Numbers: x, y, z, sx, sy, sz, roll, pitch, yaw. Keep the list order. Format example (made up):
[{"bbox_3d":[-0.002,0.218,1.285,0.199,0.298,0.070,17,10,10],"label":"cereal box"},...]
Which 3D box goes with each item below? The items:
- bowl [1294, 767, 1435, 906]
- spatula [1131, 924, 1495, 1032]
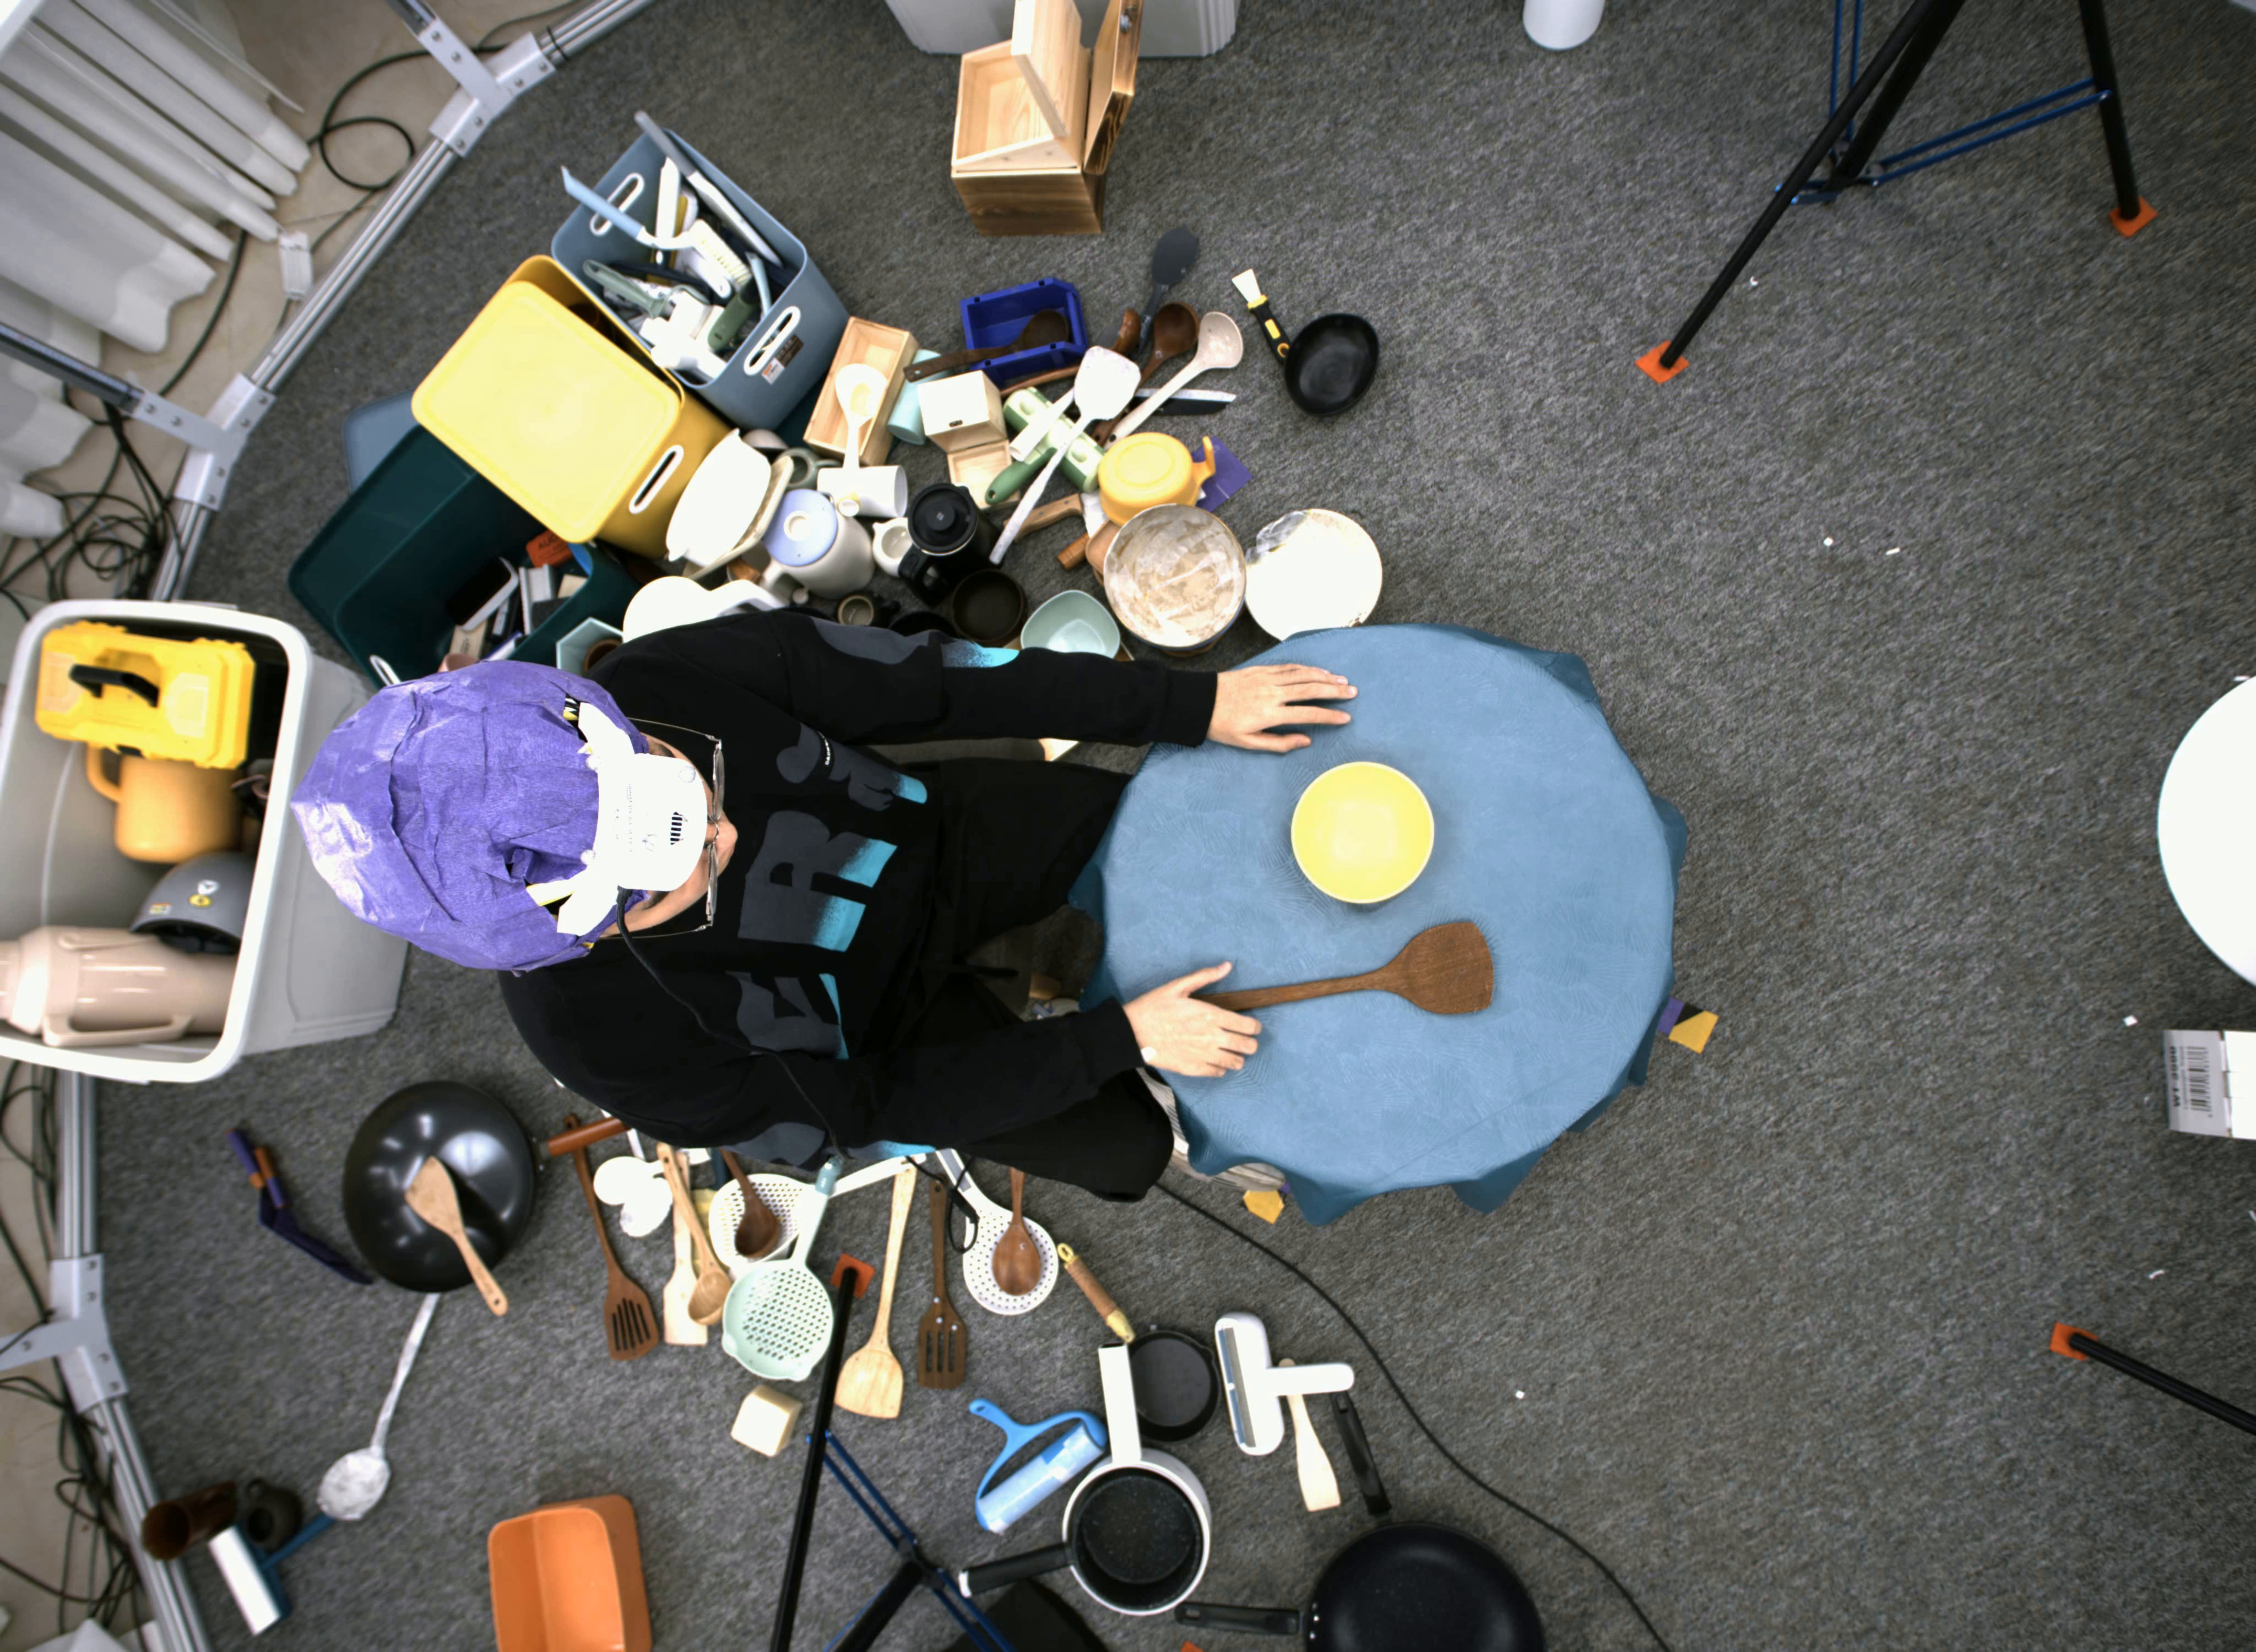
[{"bbox_3d":[0.247,0.014,1.445,0.146,0.060,0.144,-2,83,11],"label":"bowl"},{"bbox_3d":[0.191,0.176,1.465,0.388,0.016,0.095,-10,84,10],"label":"spatula"}]
